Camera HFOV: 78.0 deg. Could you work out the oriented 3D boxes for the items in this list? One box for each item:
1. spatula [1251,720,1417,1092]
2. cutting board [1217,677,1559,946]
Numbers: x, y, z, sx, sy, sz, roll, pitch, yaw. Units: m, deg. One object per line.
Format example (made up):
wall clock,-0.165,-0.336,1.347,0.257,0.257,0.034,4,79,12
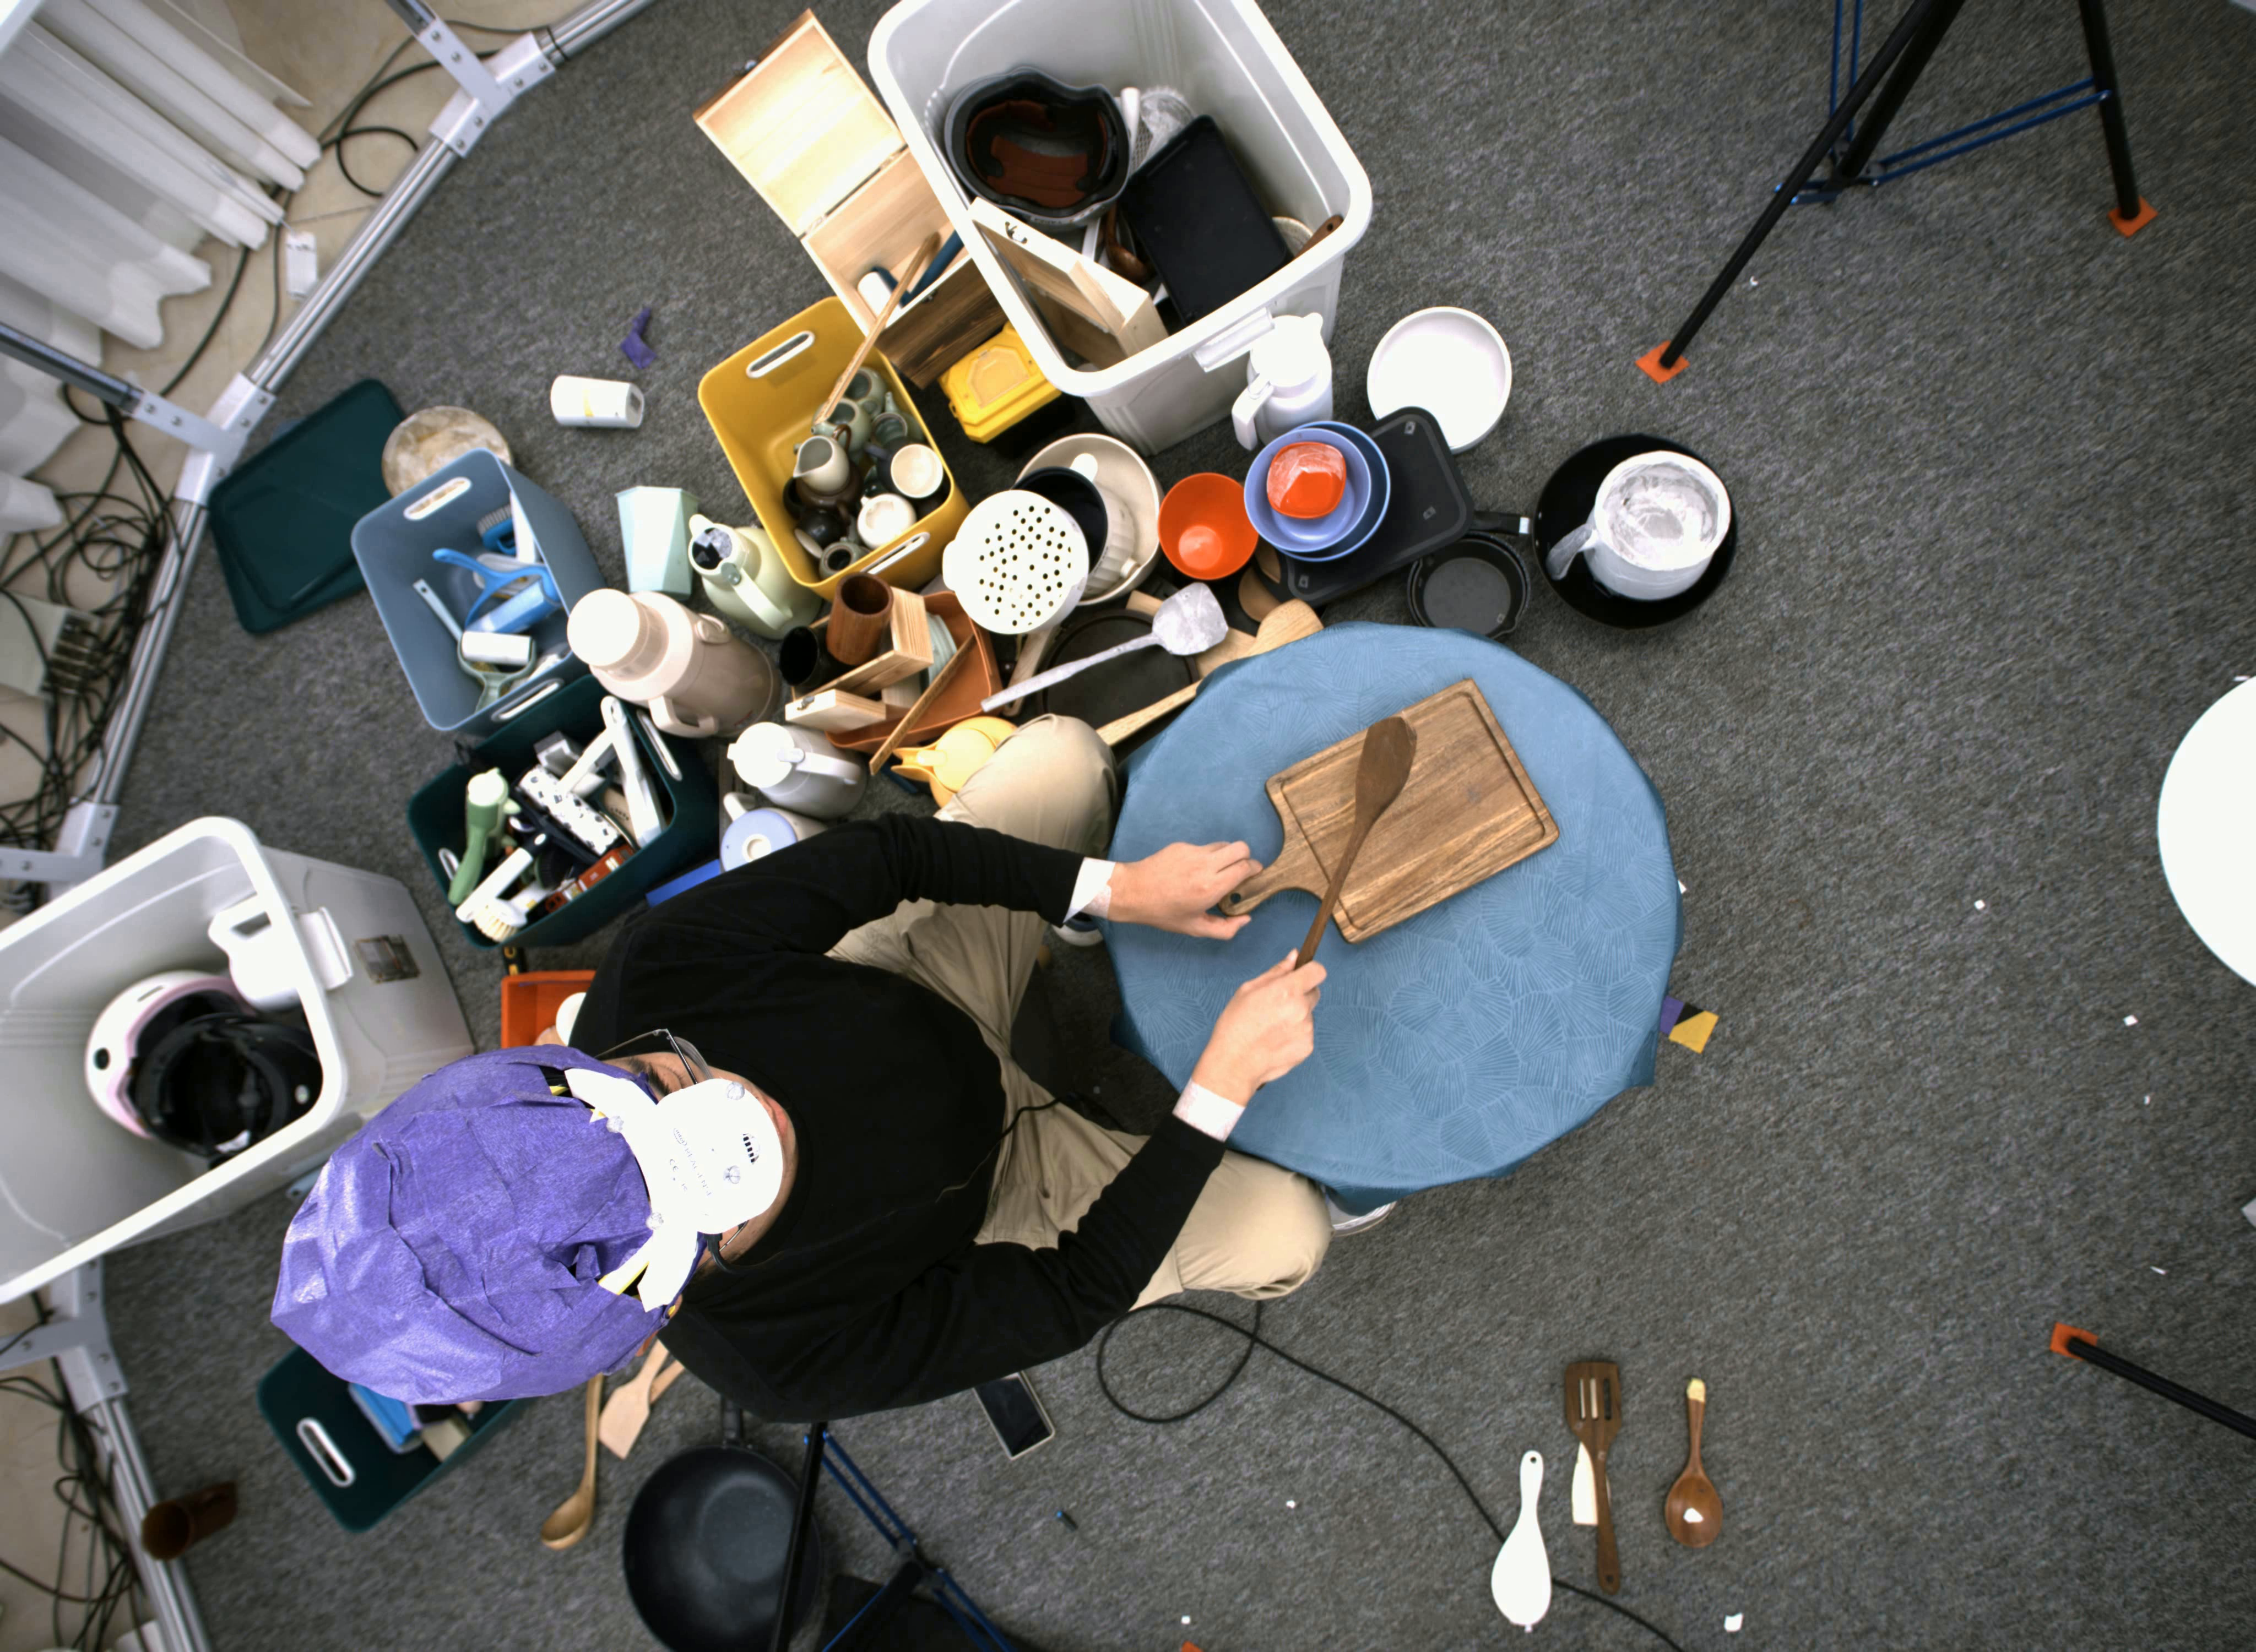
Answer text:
spatula,0.192,0.076,1.331,0.016,0.096,0.386,22,92,-20
cutting board,0.249,0.004,1.437,0.352,0.023,0.200,-28,82,1
